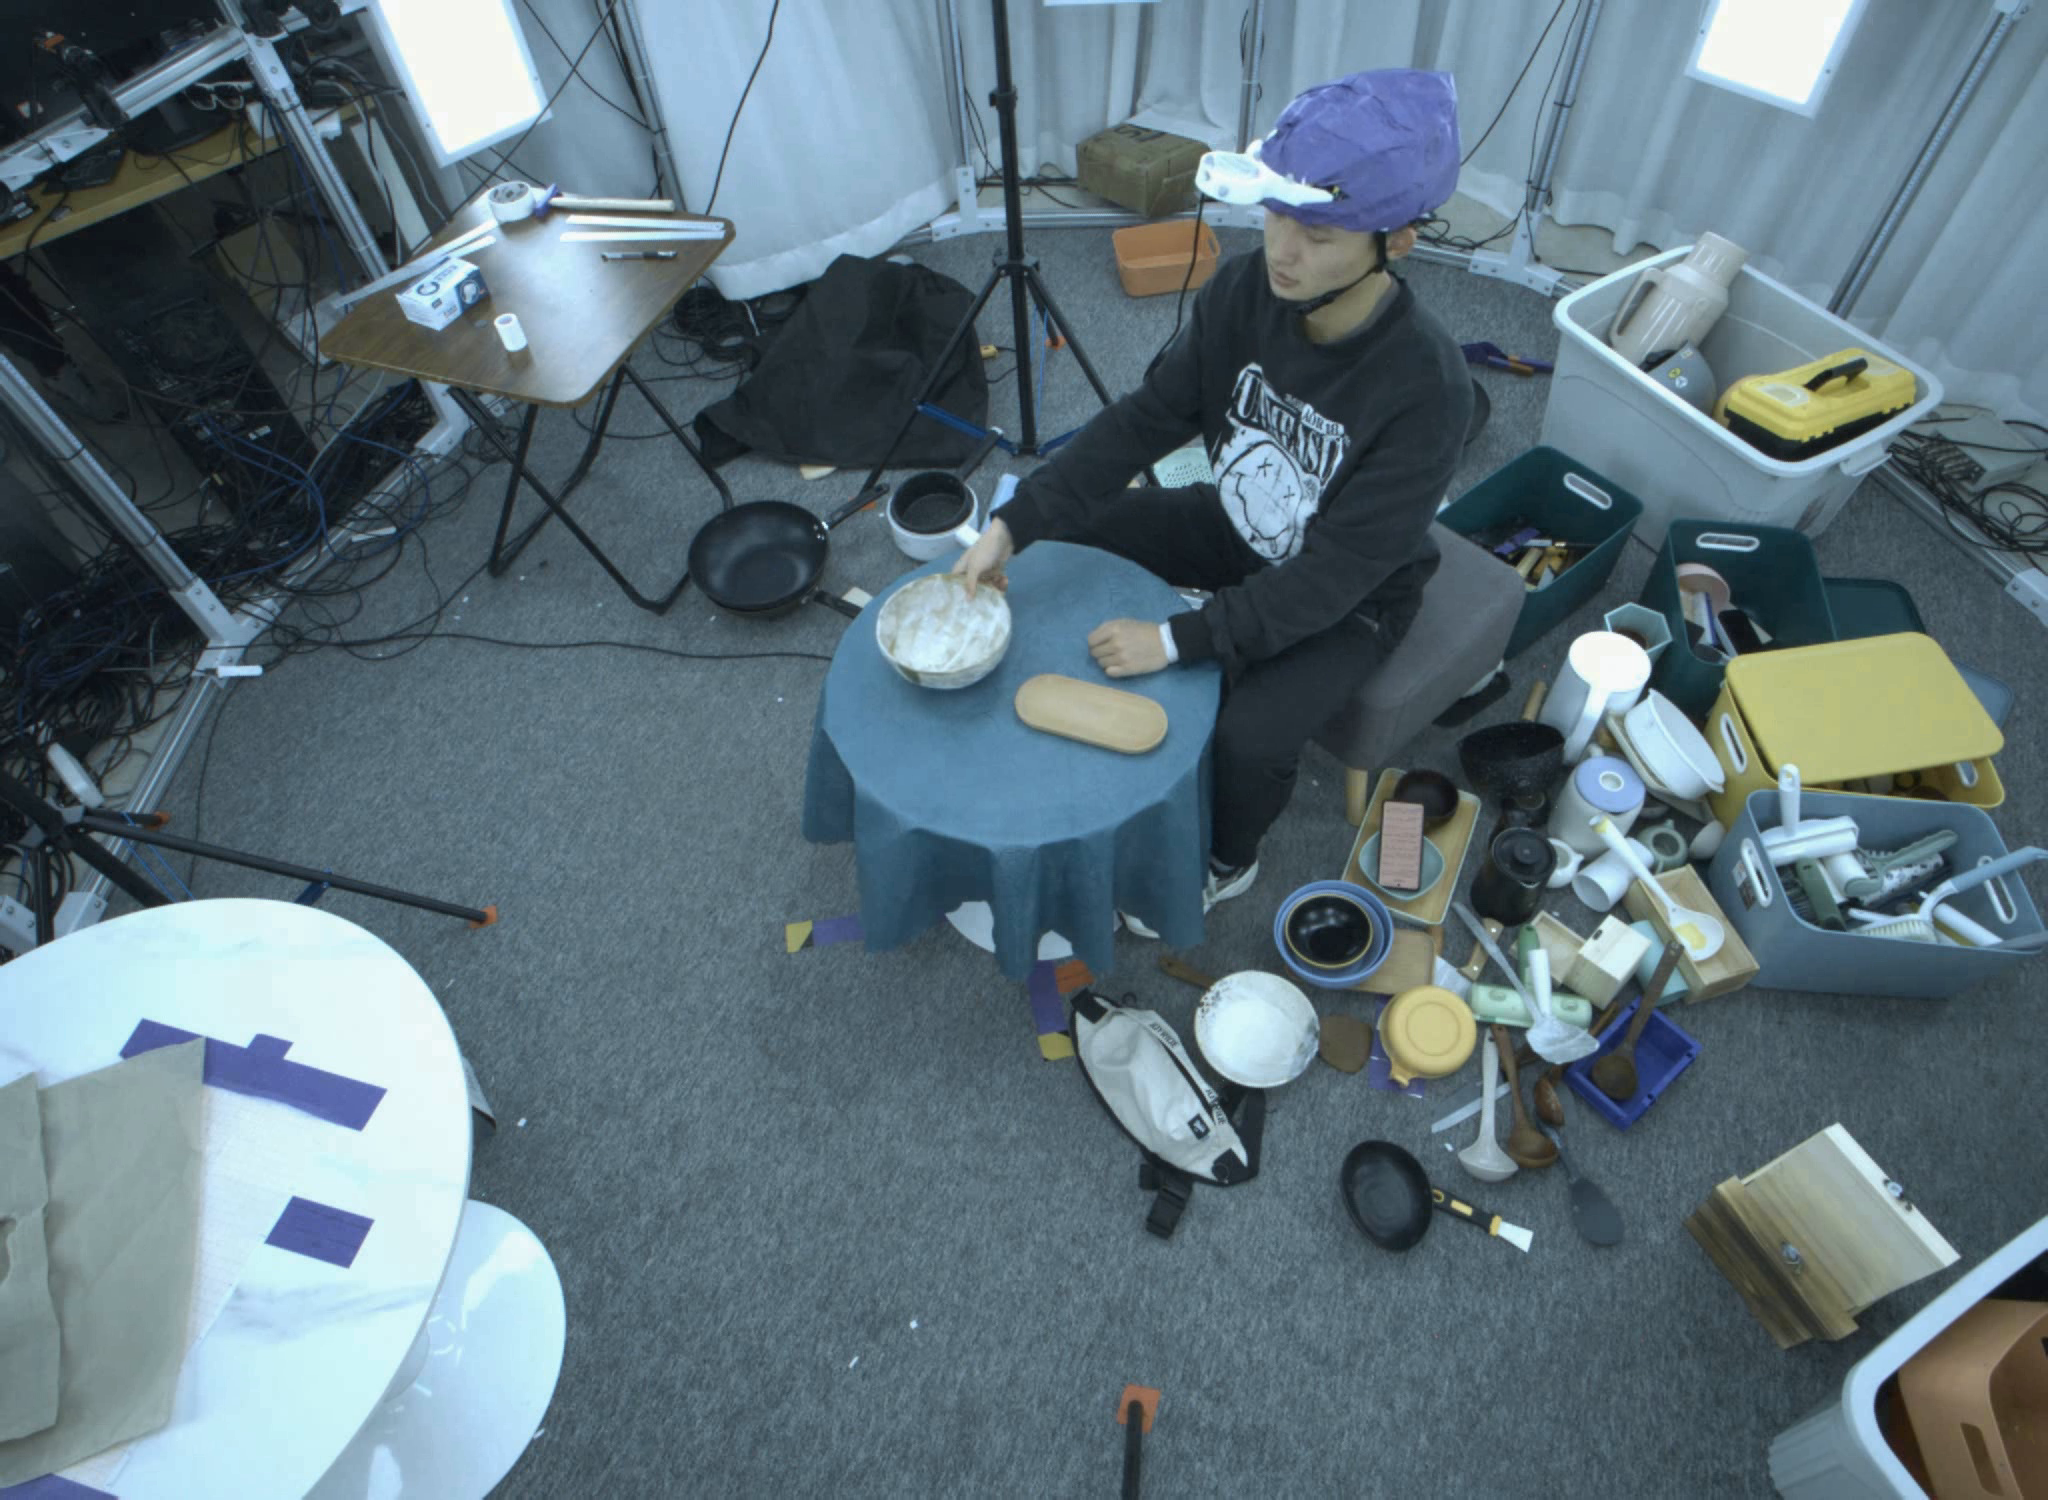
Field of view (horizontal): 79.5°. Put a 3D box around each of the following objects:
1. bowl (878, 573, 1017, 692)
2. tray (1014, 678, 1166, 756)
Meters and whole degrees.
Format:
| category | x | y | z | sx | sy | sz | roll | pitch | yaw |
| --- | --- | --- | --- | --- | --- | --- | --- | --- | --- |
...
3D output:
| category | x | y | z | sx | sy | sz | roll | pitch | yaw |
| --- | --- | --- | --- | --- | --- | --- | --- | --- | --- |
| bowl | -0.110 | -0.159 | 1.855 | 0.214 | 0.096 | 0.212 | -1 | 54 | 3 |
| tray | 0.097 | -0.049 | 1.820 | 0.229 | 0.020 | 0.101 | 14 | 54 | 13 |
